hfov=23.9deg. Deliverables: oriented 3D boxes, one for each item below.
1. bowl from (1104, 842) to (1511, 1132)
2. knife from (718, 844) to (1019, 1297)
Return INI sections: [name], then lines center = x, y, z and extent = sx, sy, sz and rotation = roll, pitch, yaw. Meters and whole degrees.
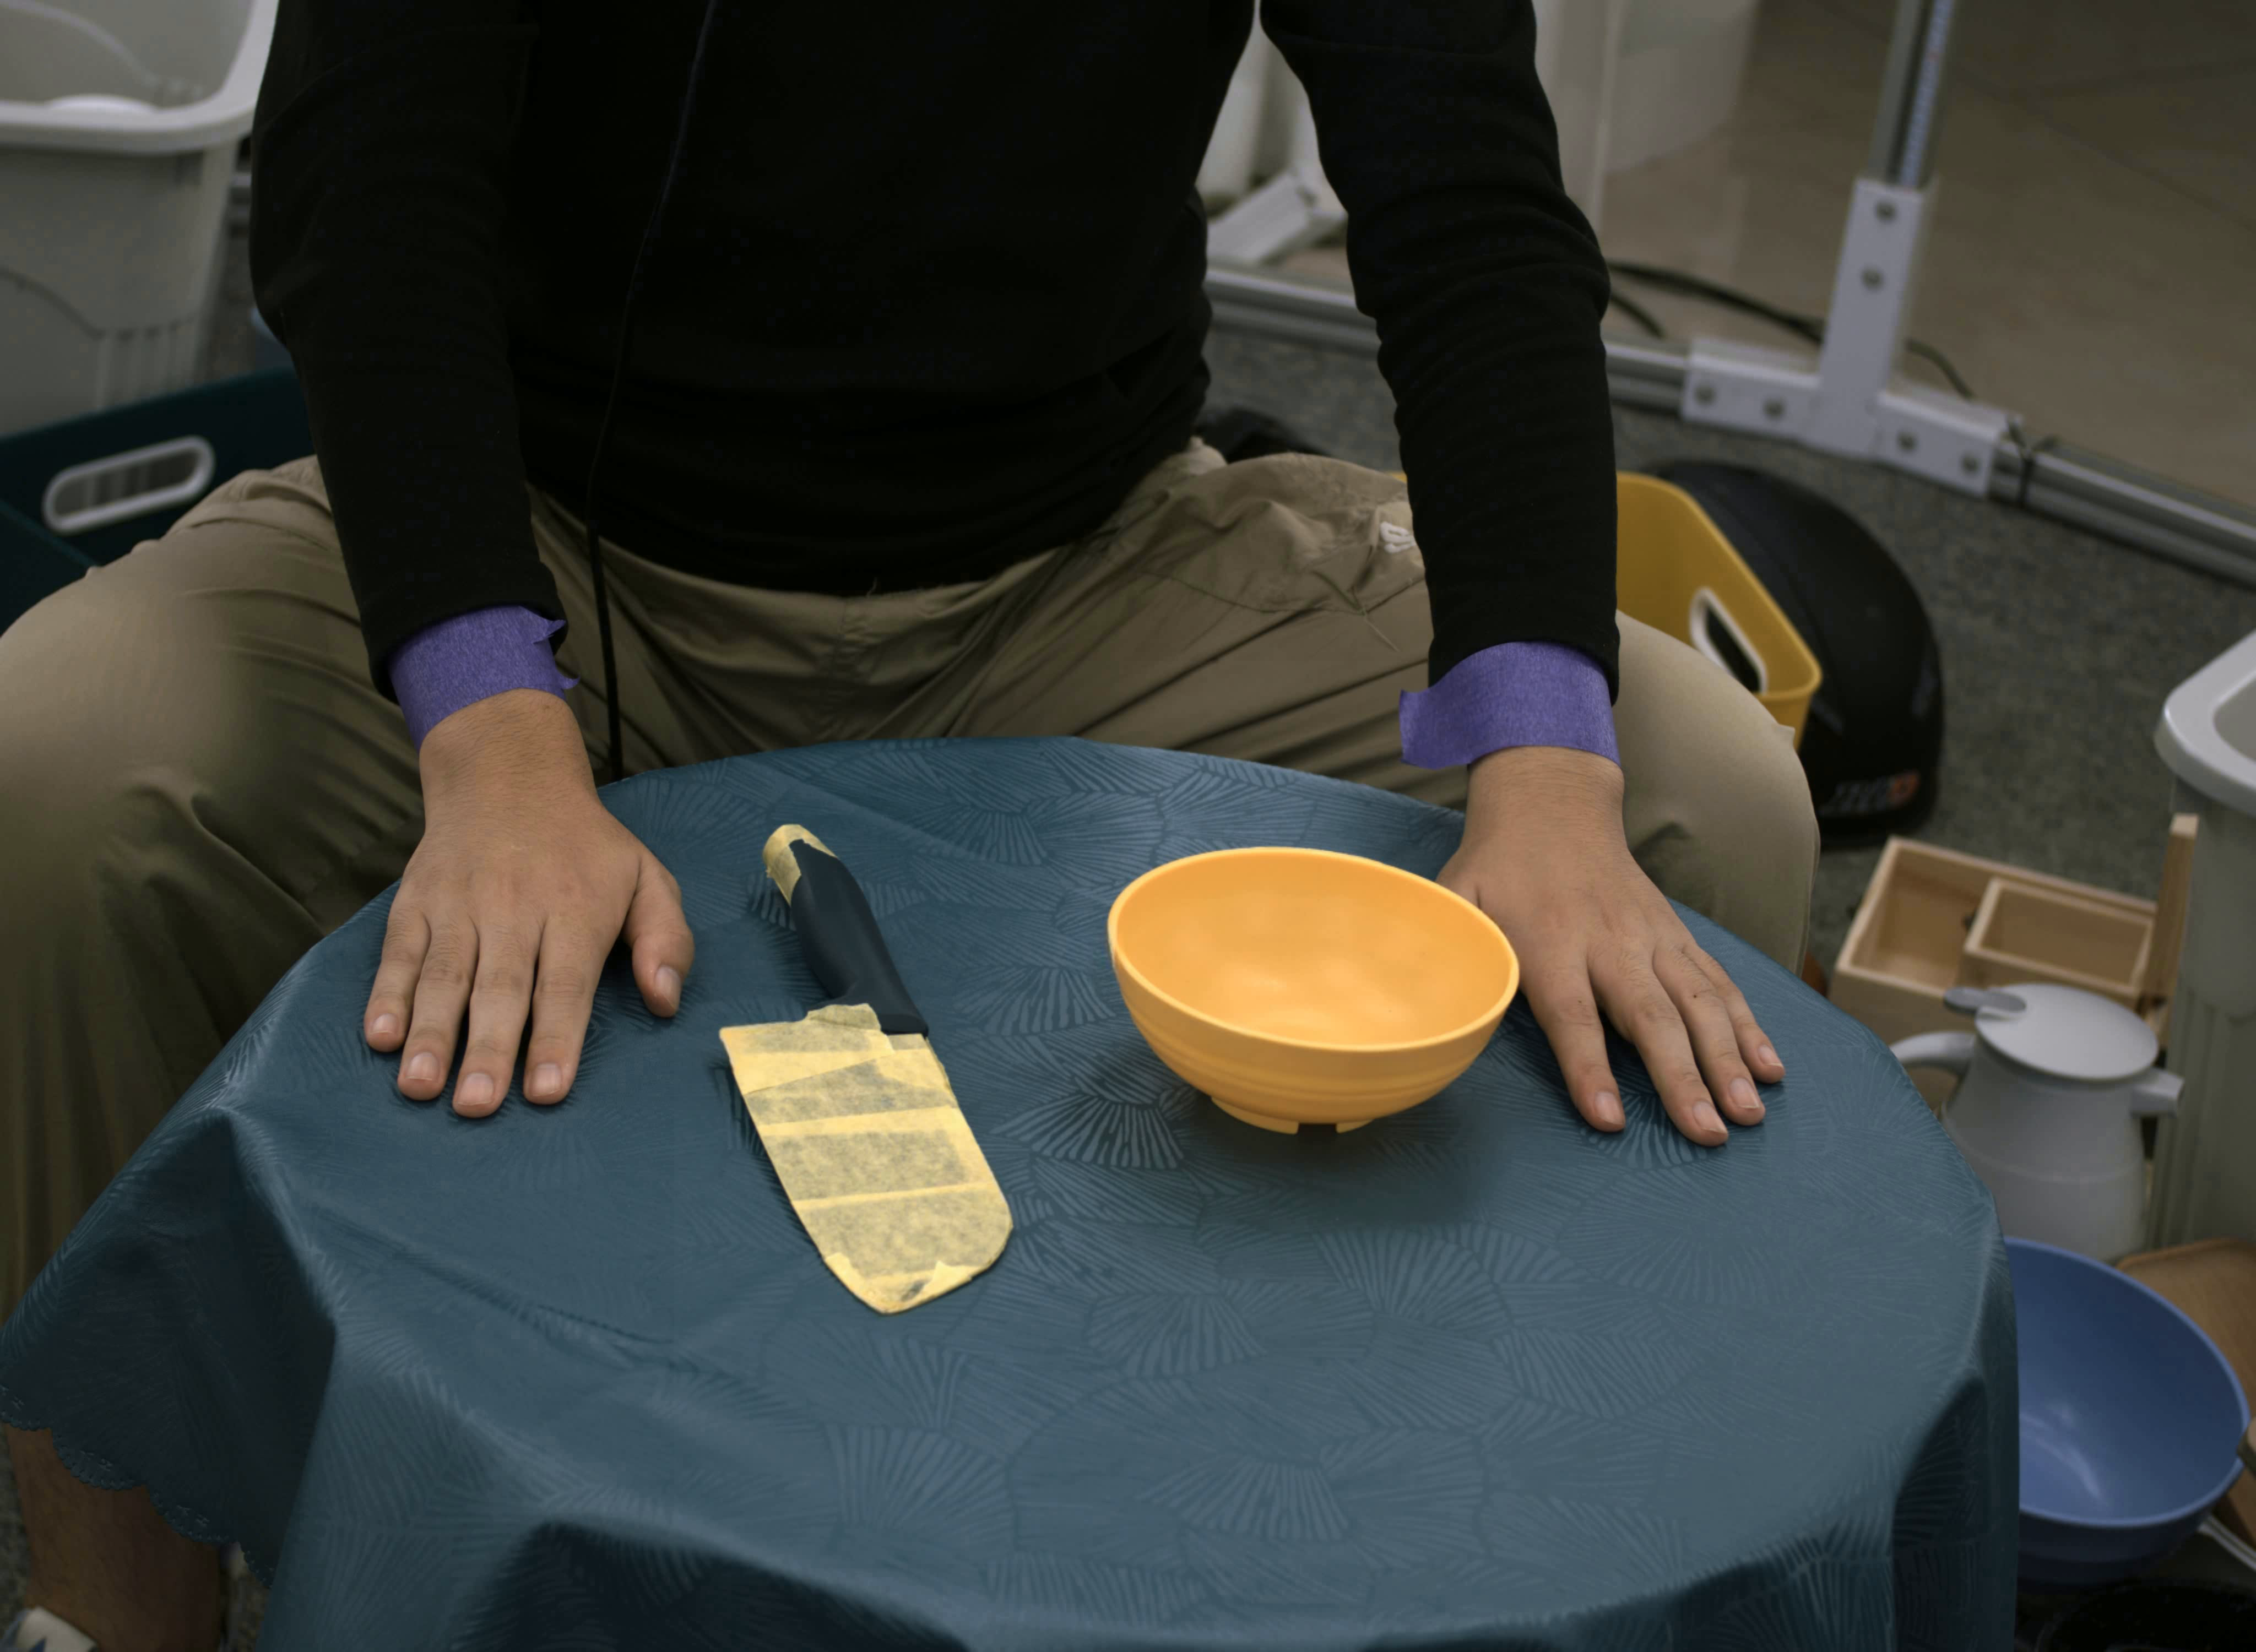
[bowl]
center = 0.059, 0.066, 1.868
extent = 0.145, 0.060, 0.146
rotation = 7, 27, -4
[knife]
center = -0.100, 0.083, 1.847
extent = 0.080, 0.027, 0.292
rotation = 0, 29, -16
